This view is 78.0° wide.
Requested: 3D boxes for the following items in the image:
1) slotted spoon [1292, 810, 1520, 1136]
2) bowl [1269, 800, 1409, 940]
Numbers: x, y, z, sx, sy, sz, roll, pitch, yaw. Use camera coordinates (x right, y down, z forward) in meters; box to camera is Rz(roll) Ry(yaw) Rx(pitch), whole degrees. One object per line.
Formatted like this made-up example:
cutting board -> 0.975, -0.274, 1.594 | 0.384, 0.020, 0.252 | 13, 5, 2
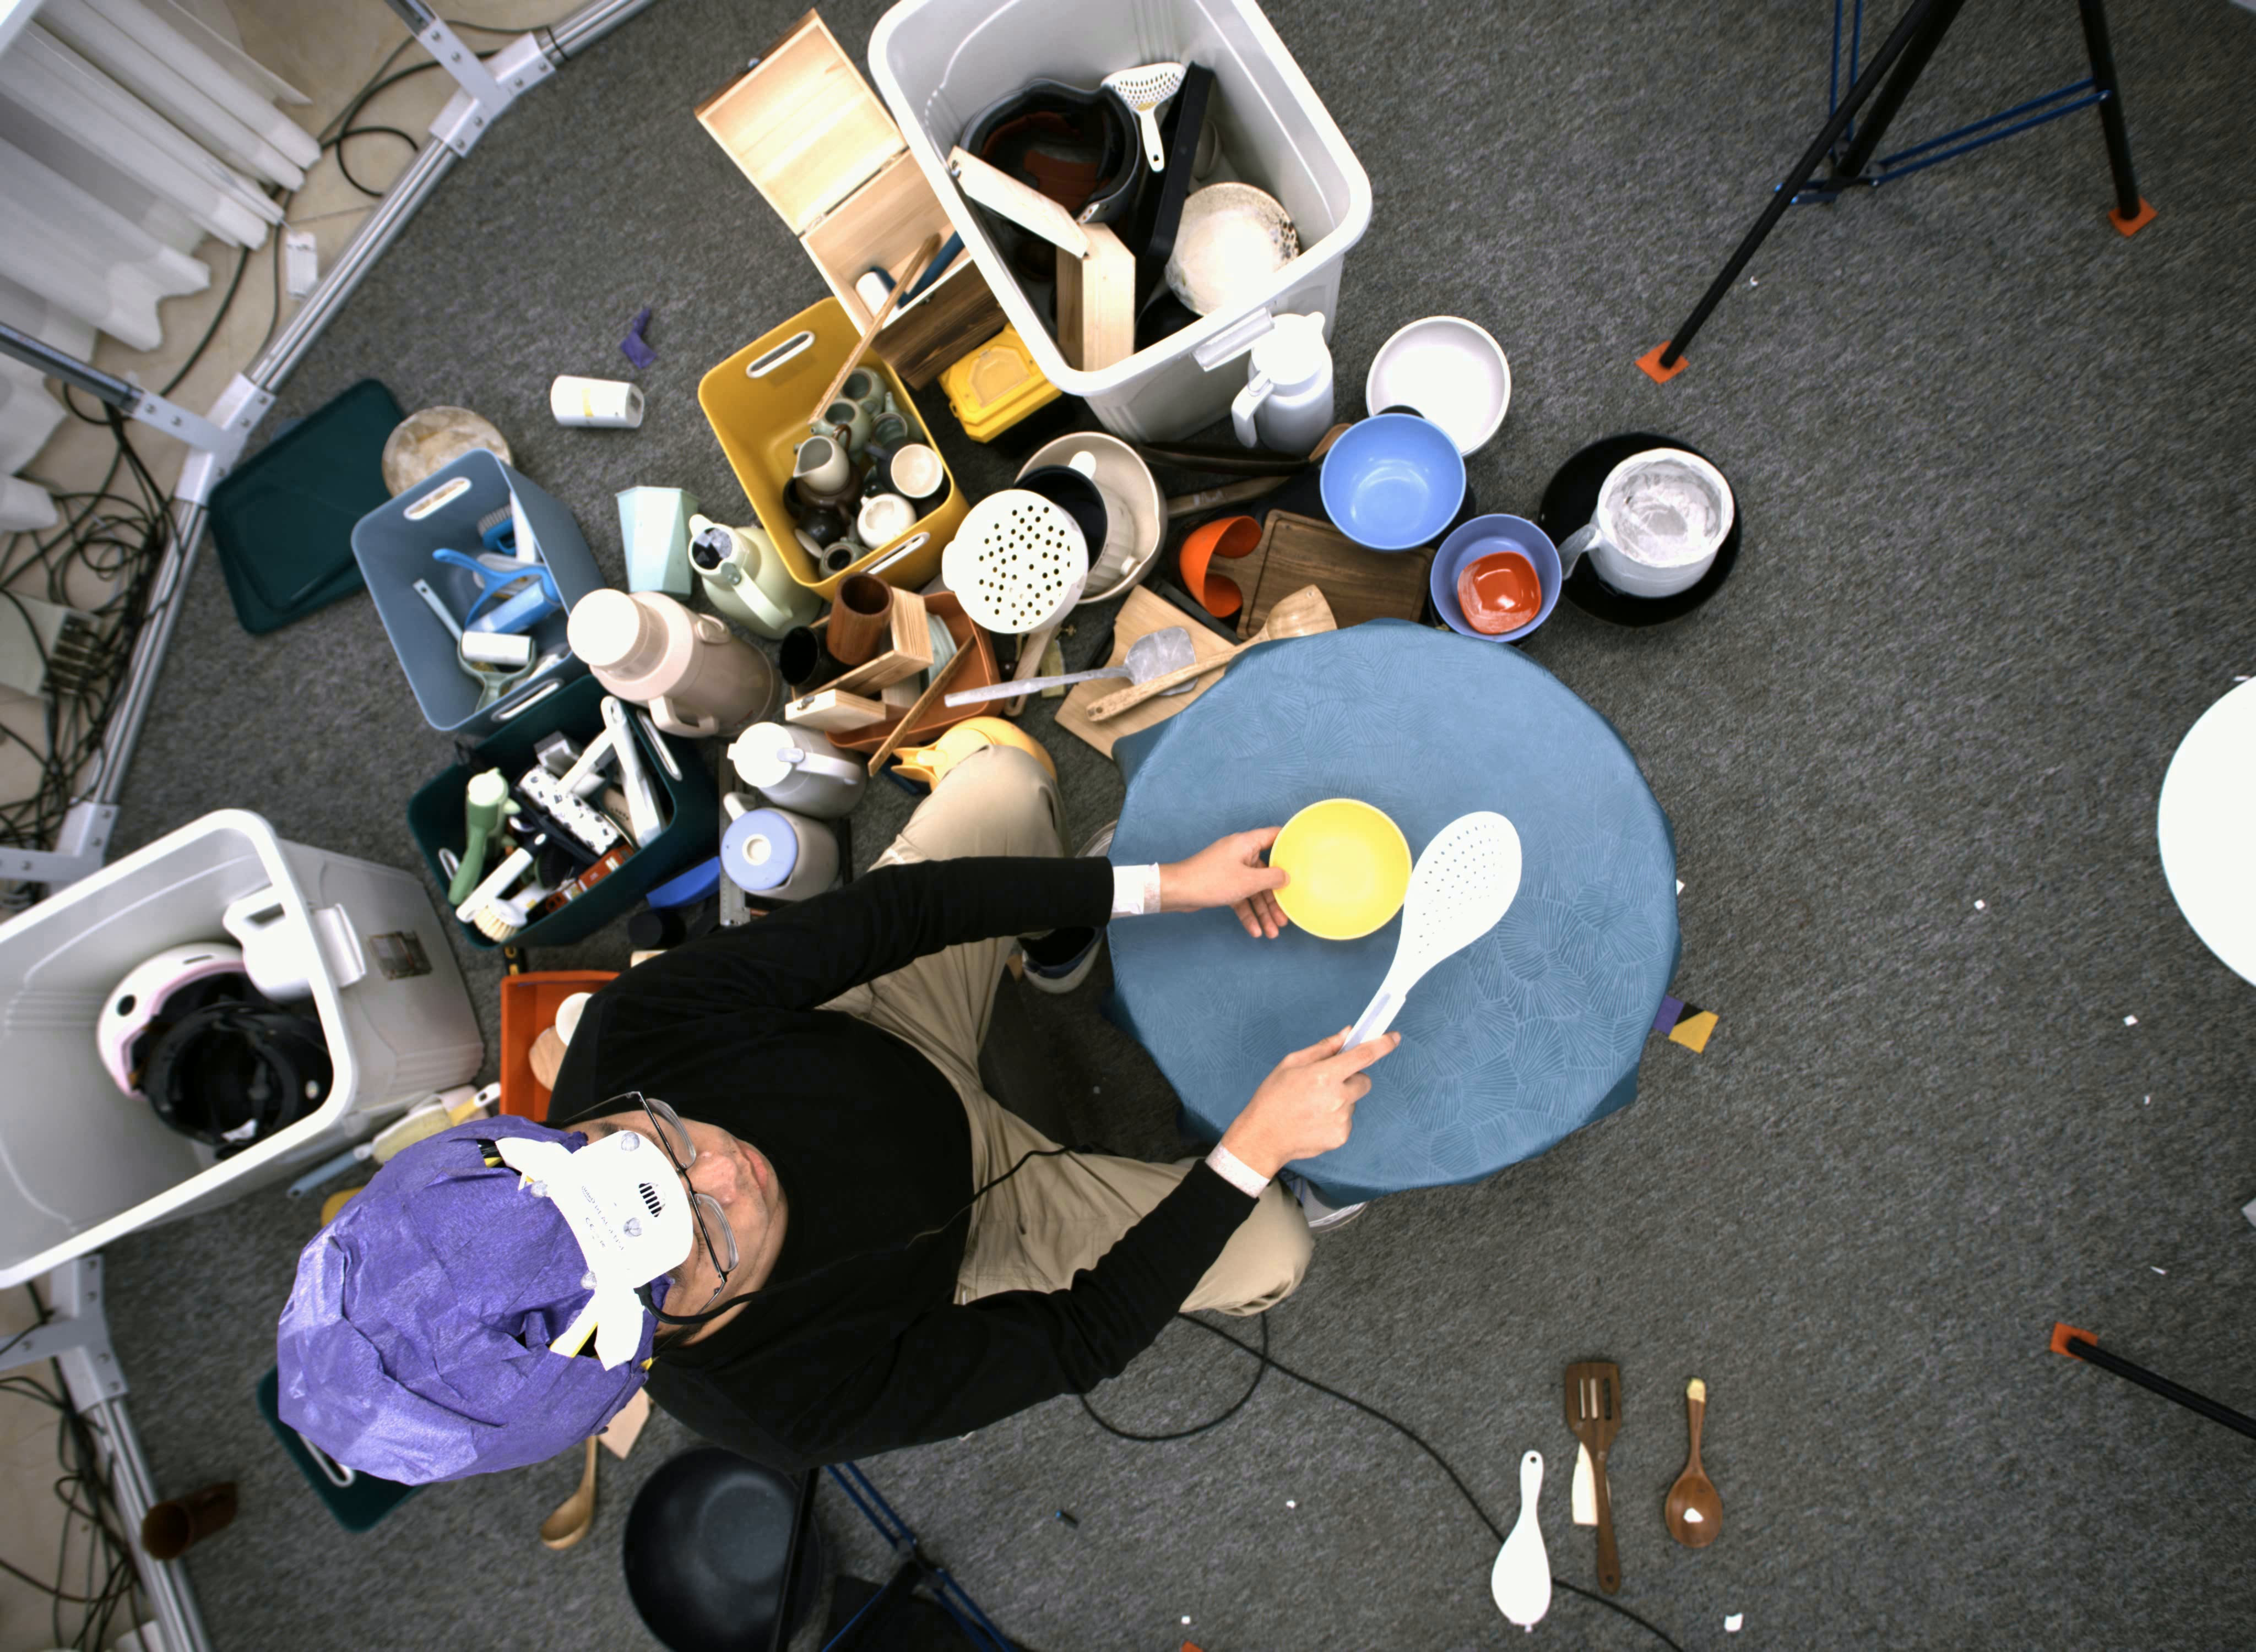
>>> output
slotted spoon -> 0.255, 0.140, 1.285 | 0.046, 0.134, 0.352 | 32, 98, -27
bowl -> 0.222, 0.047, 1.445 | 0.146, 0.060, 0.144 | -1, 85, 13
